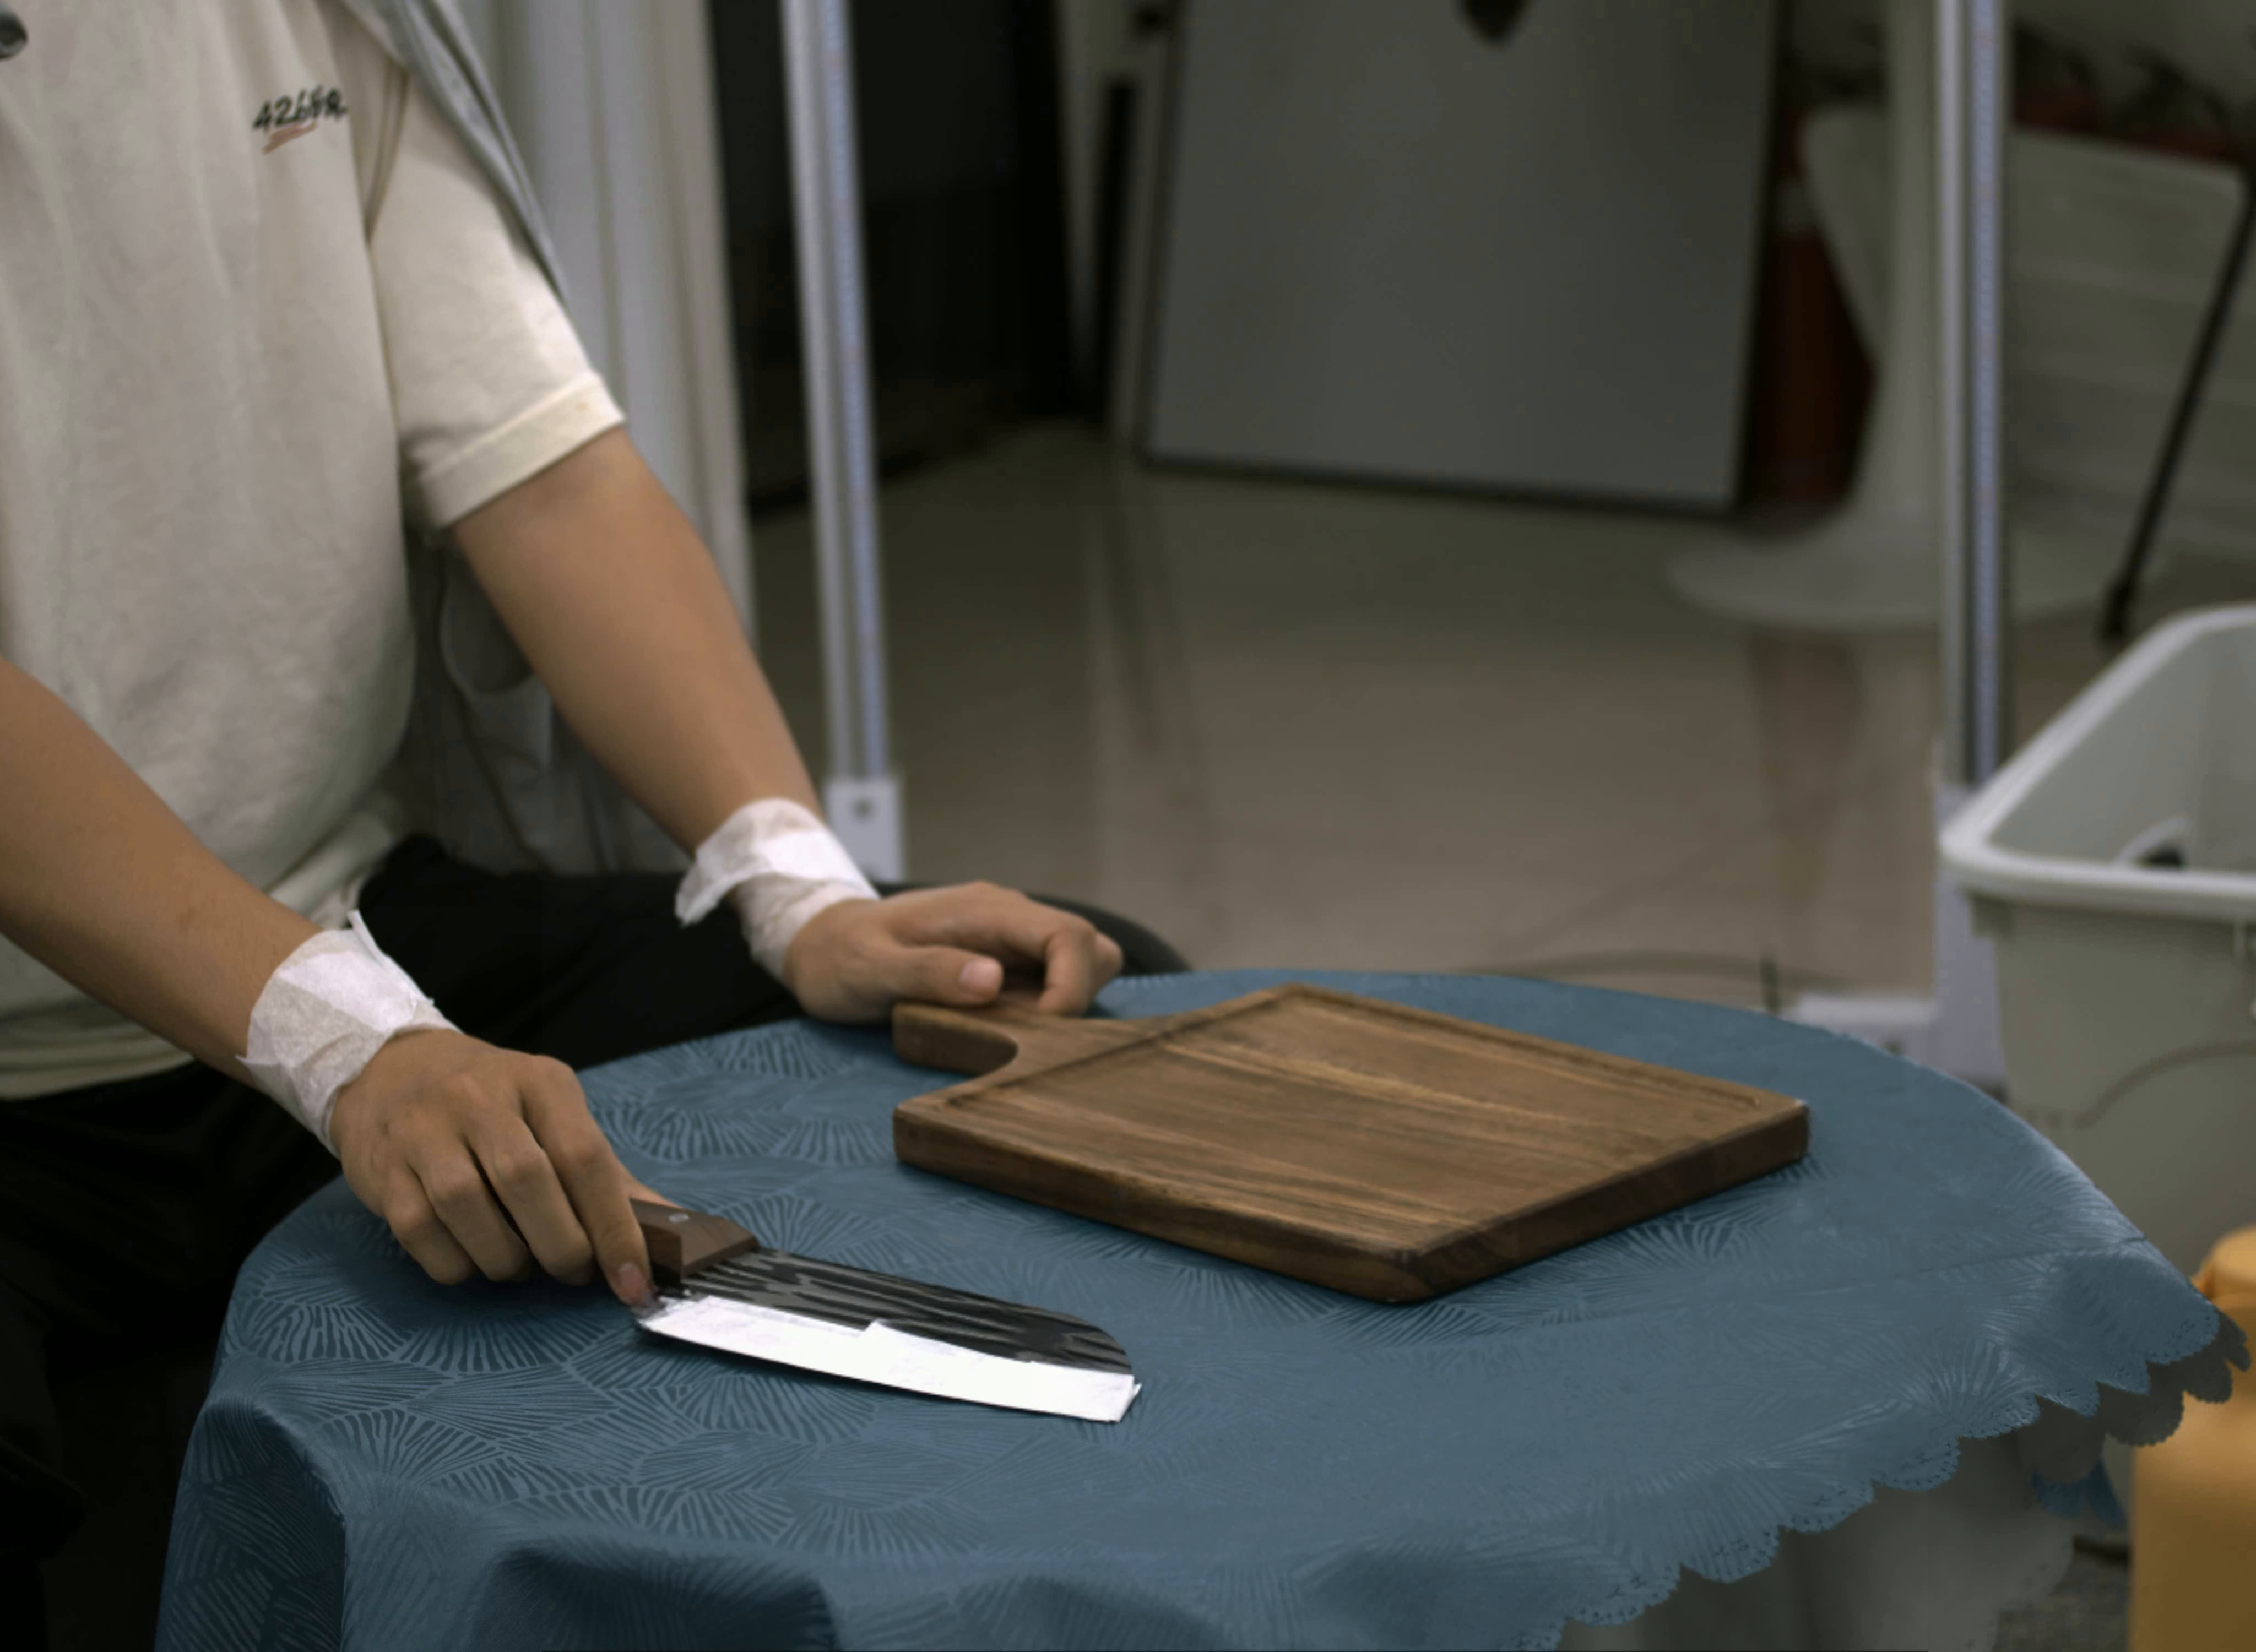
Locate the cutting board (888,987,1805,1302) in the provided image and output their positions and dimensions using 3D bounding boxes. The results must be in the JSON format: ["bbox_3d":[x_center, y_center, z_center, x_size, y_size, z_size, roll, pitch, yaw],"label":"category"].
[{"bbox_3d":[0.039,0.095,1.827,0.197,0.023,0.356,-15,17,-39],"label":"cutting board"}]

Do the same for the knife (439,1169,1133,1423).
[{"bbox_3d":[-0.113,0.147,1.665,0.301,0.024,0.067,9,22,35],"label":"knife"}]
